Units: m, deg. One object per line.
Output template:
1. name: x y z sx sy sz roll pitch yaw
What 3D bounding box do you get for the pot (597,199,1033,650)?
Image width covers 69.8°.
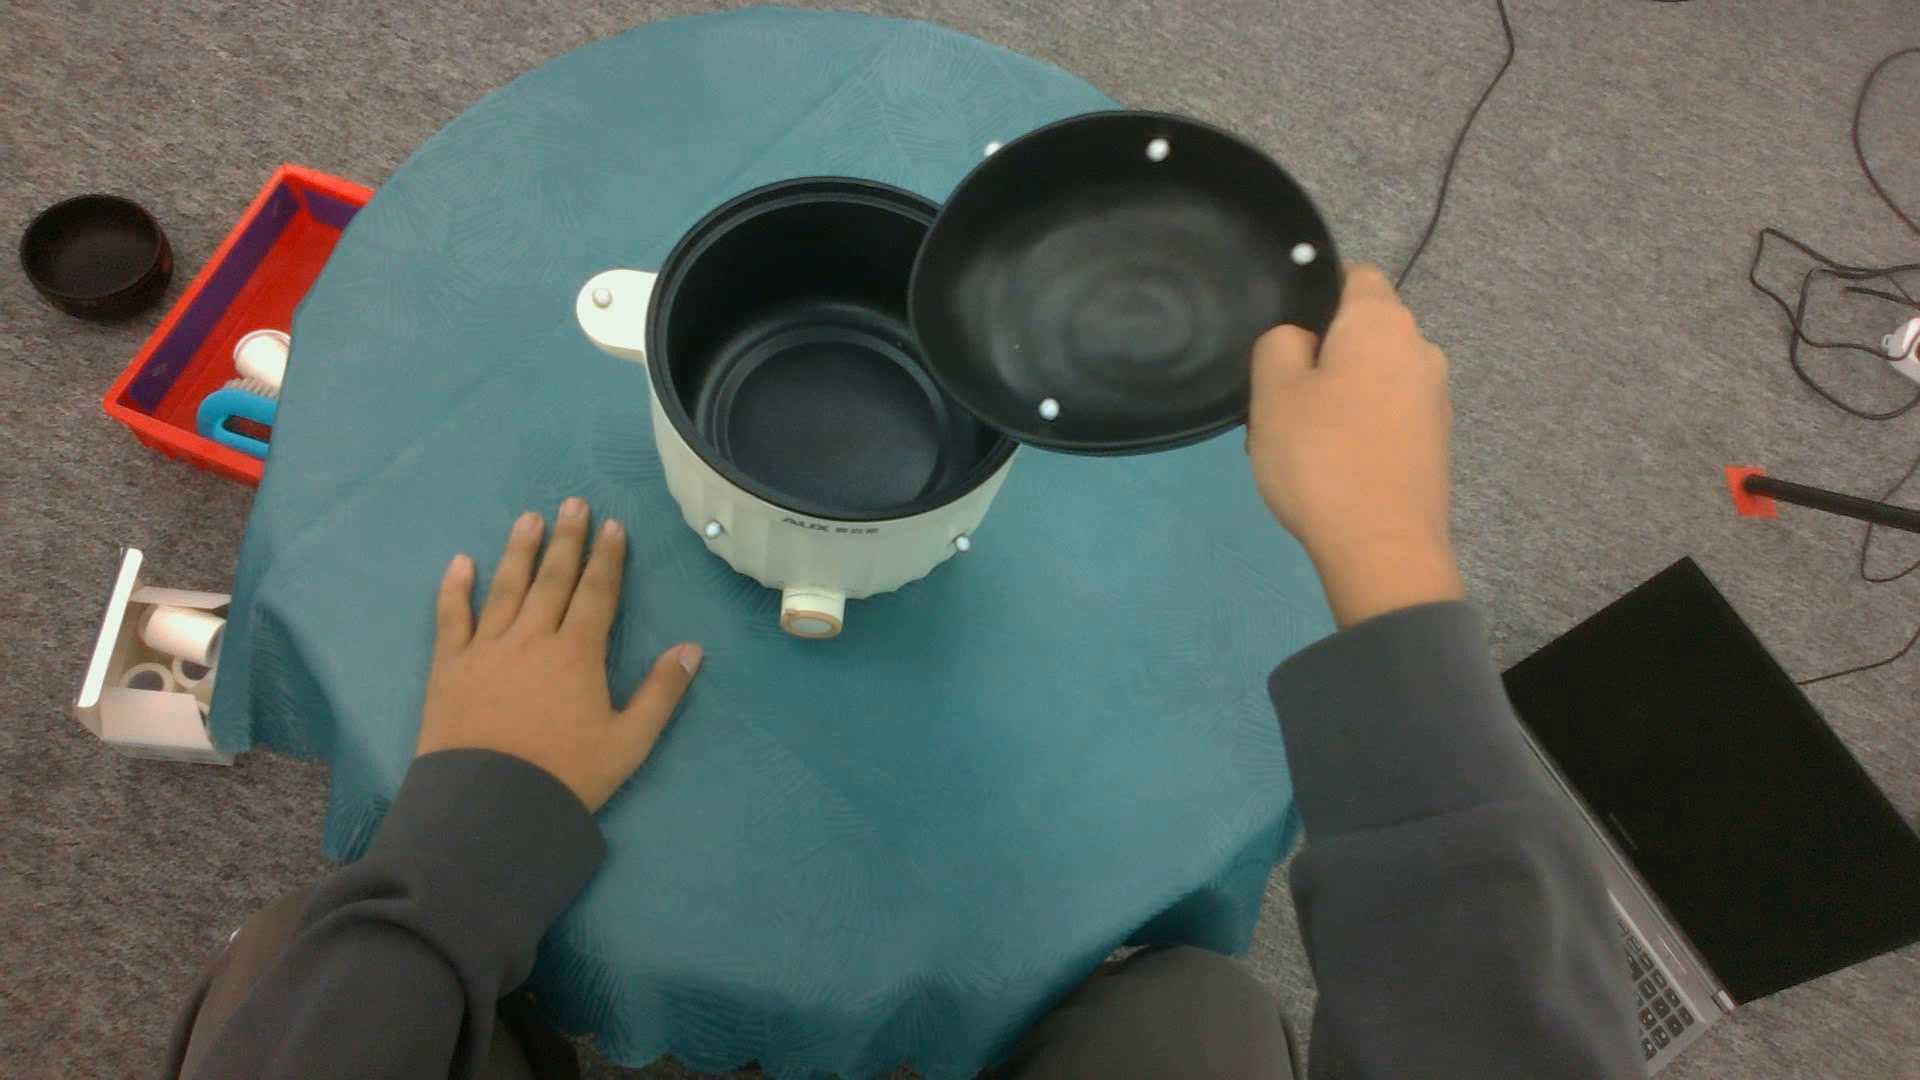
1. pot: -0.053 -0.053 0.695 0.240 0.142 0.191 3 62 -6

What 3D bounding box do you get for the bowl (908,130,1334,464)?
1. bowl: 0.067 -0.093 0.569 0.170 0.066 0.137 1 79 16
